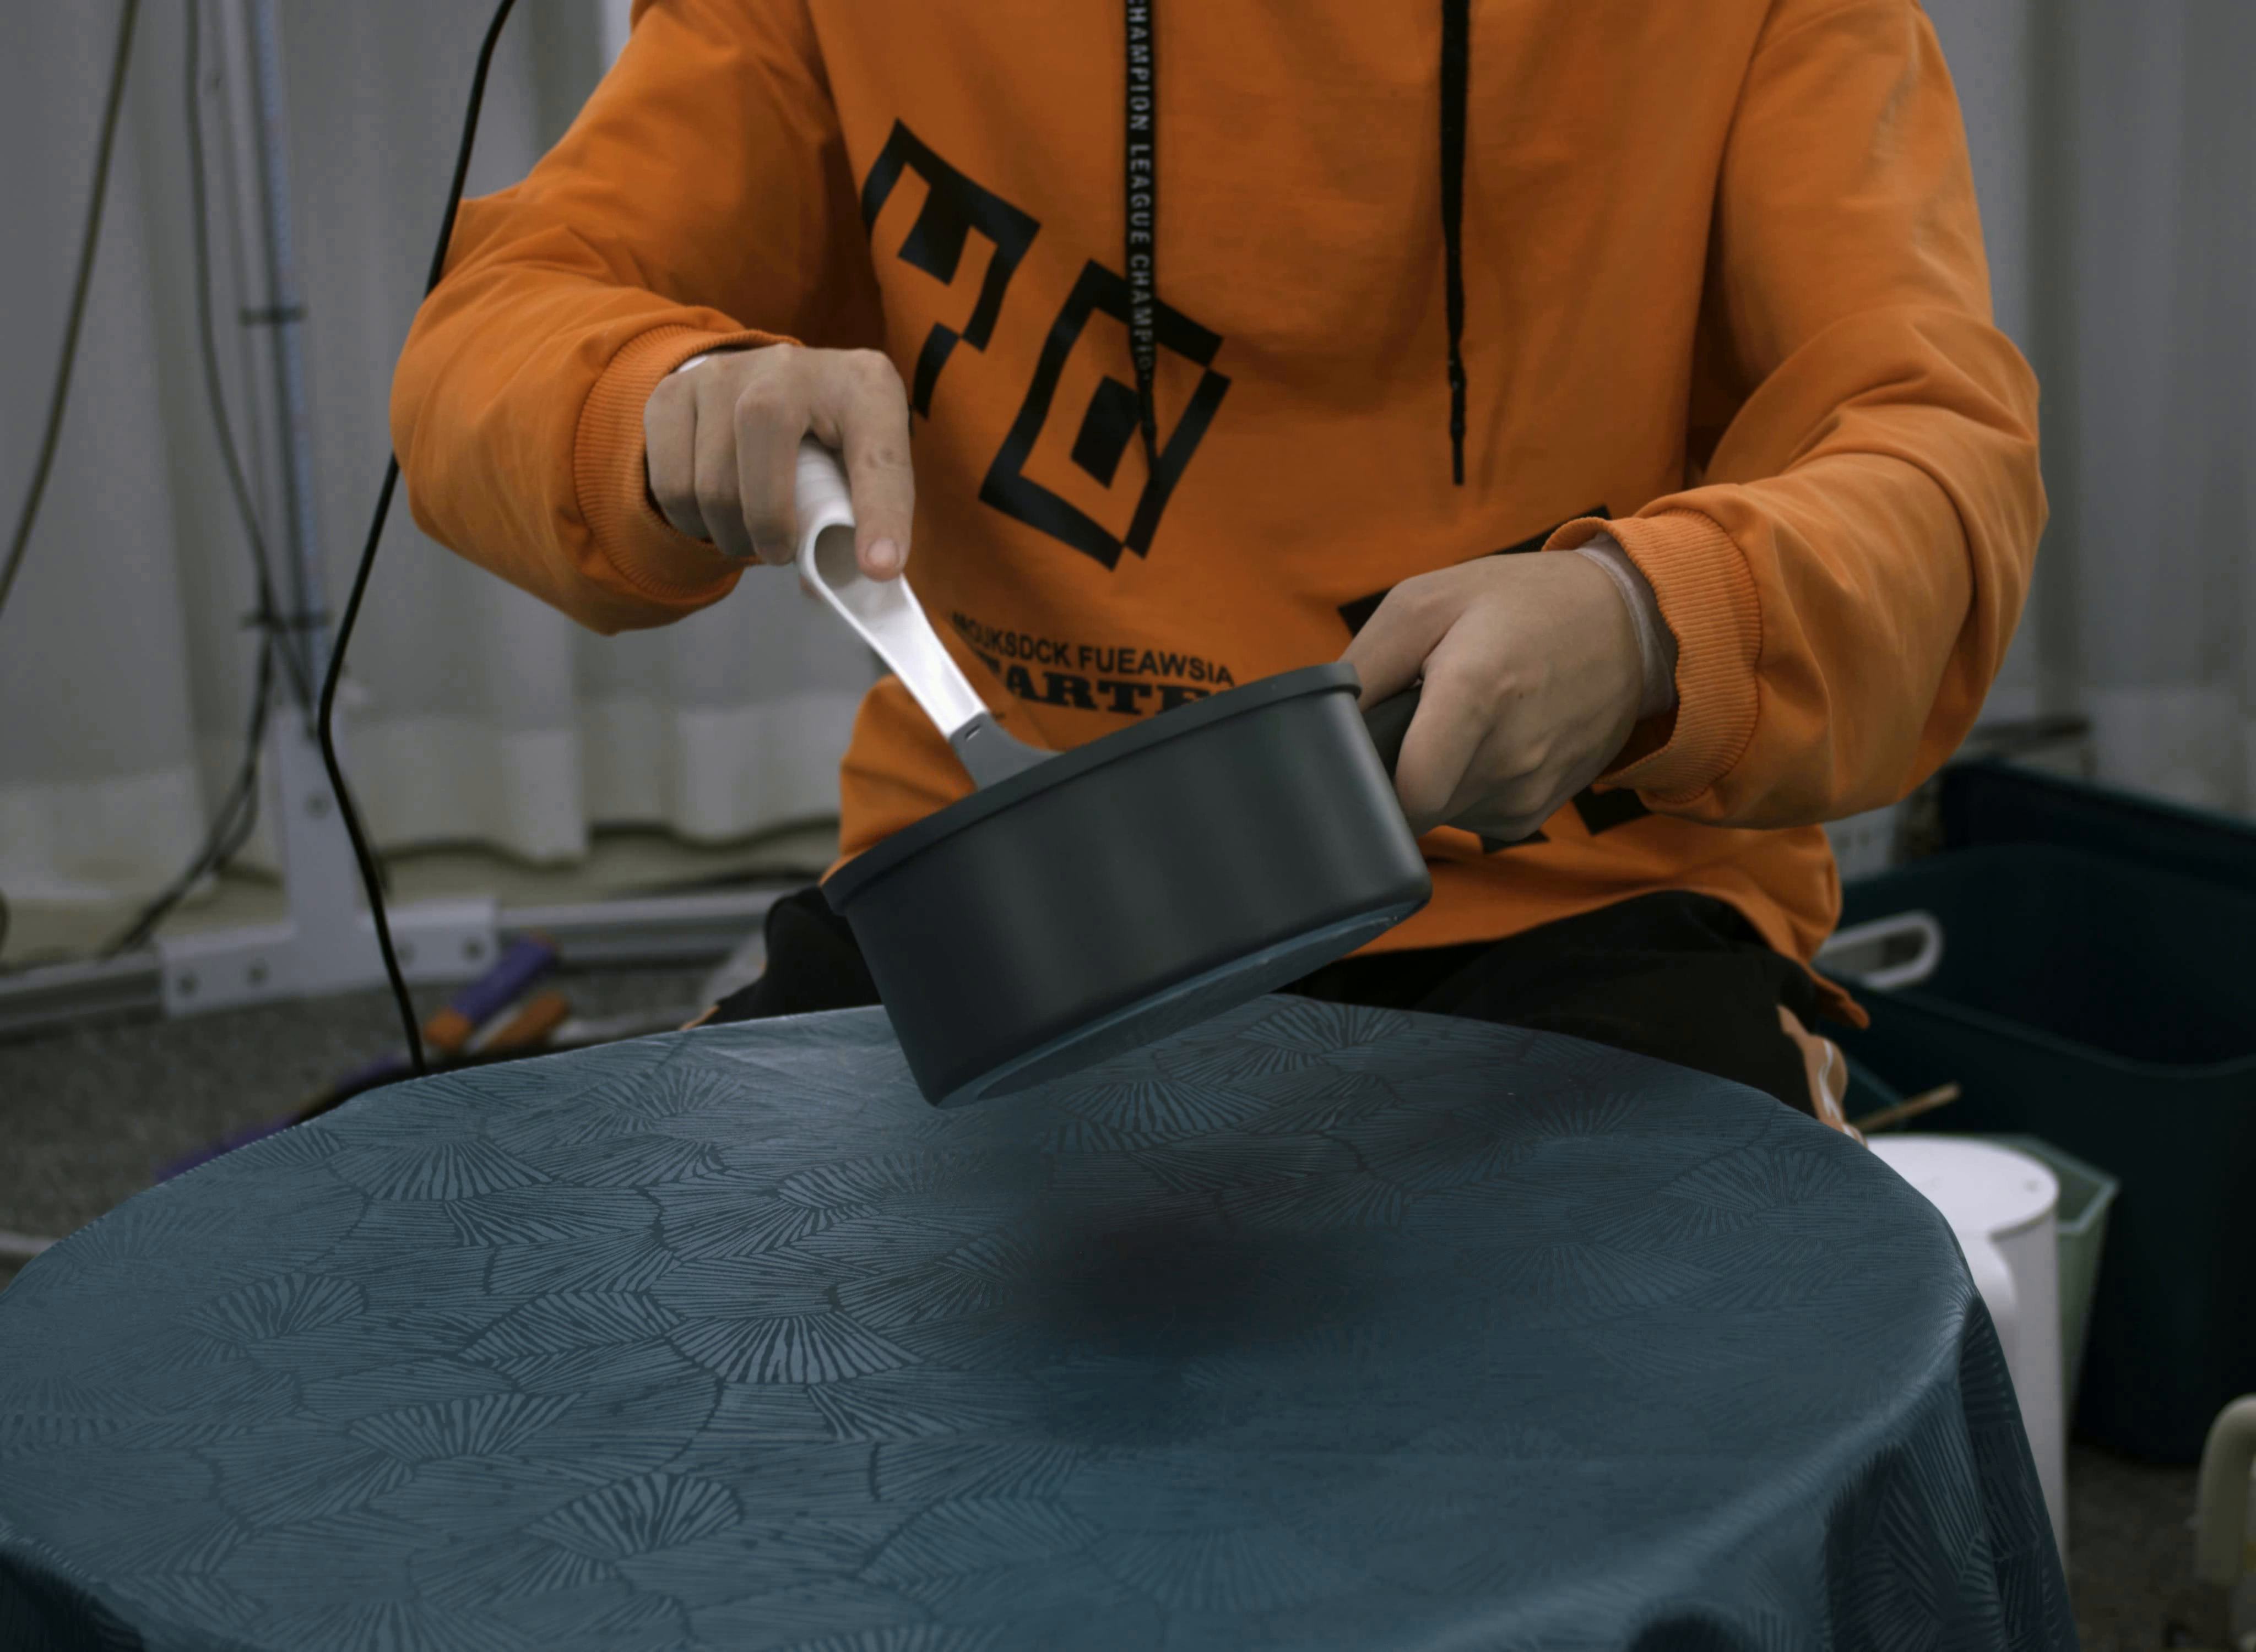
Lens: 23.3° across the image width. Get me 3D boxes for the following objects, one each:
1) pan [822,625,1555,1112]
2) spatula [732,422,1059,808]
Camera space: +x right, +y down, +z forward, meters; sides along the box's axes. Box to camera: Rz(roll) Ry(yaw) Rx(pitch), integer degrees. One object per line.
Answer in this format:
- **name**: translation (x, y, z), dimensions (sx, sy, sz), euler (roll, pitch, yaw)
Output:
- **pan**: translation (0.046, 0.005, 1.675), dimensions (0.171, 0.087, 0.328), euler (-26, -6, 36)
- **spatula**: translation (-0.056, -0.041, 1.691), dimensions (0.058, 0.032, 0.291), euler (-34, 43, -3)
